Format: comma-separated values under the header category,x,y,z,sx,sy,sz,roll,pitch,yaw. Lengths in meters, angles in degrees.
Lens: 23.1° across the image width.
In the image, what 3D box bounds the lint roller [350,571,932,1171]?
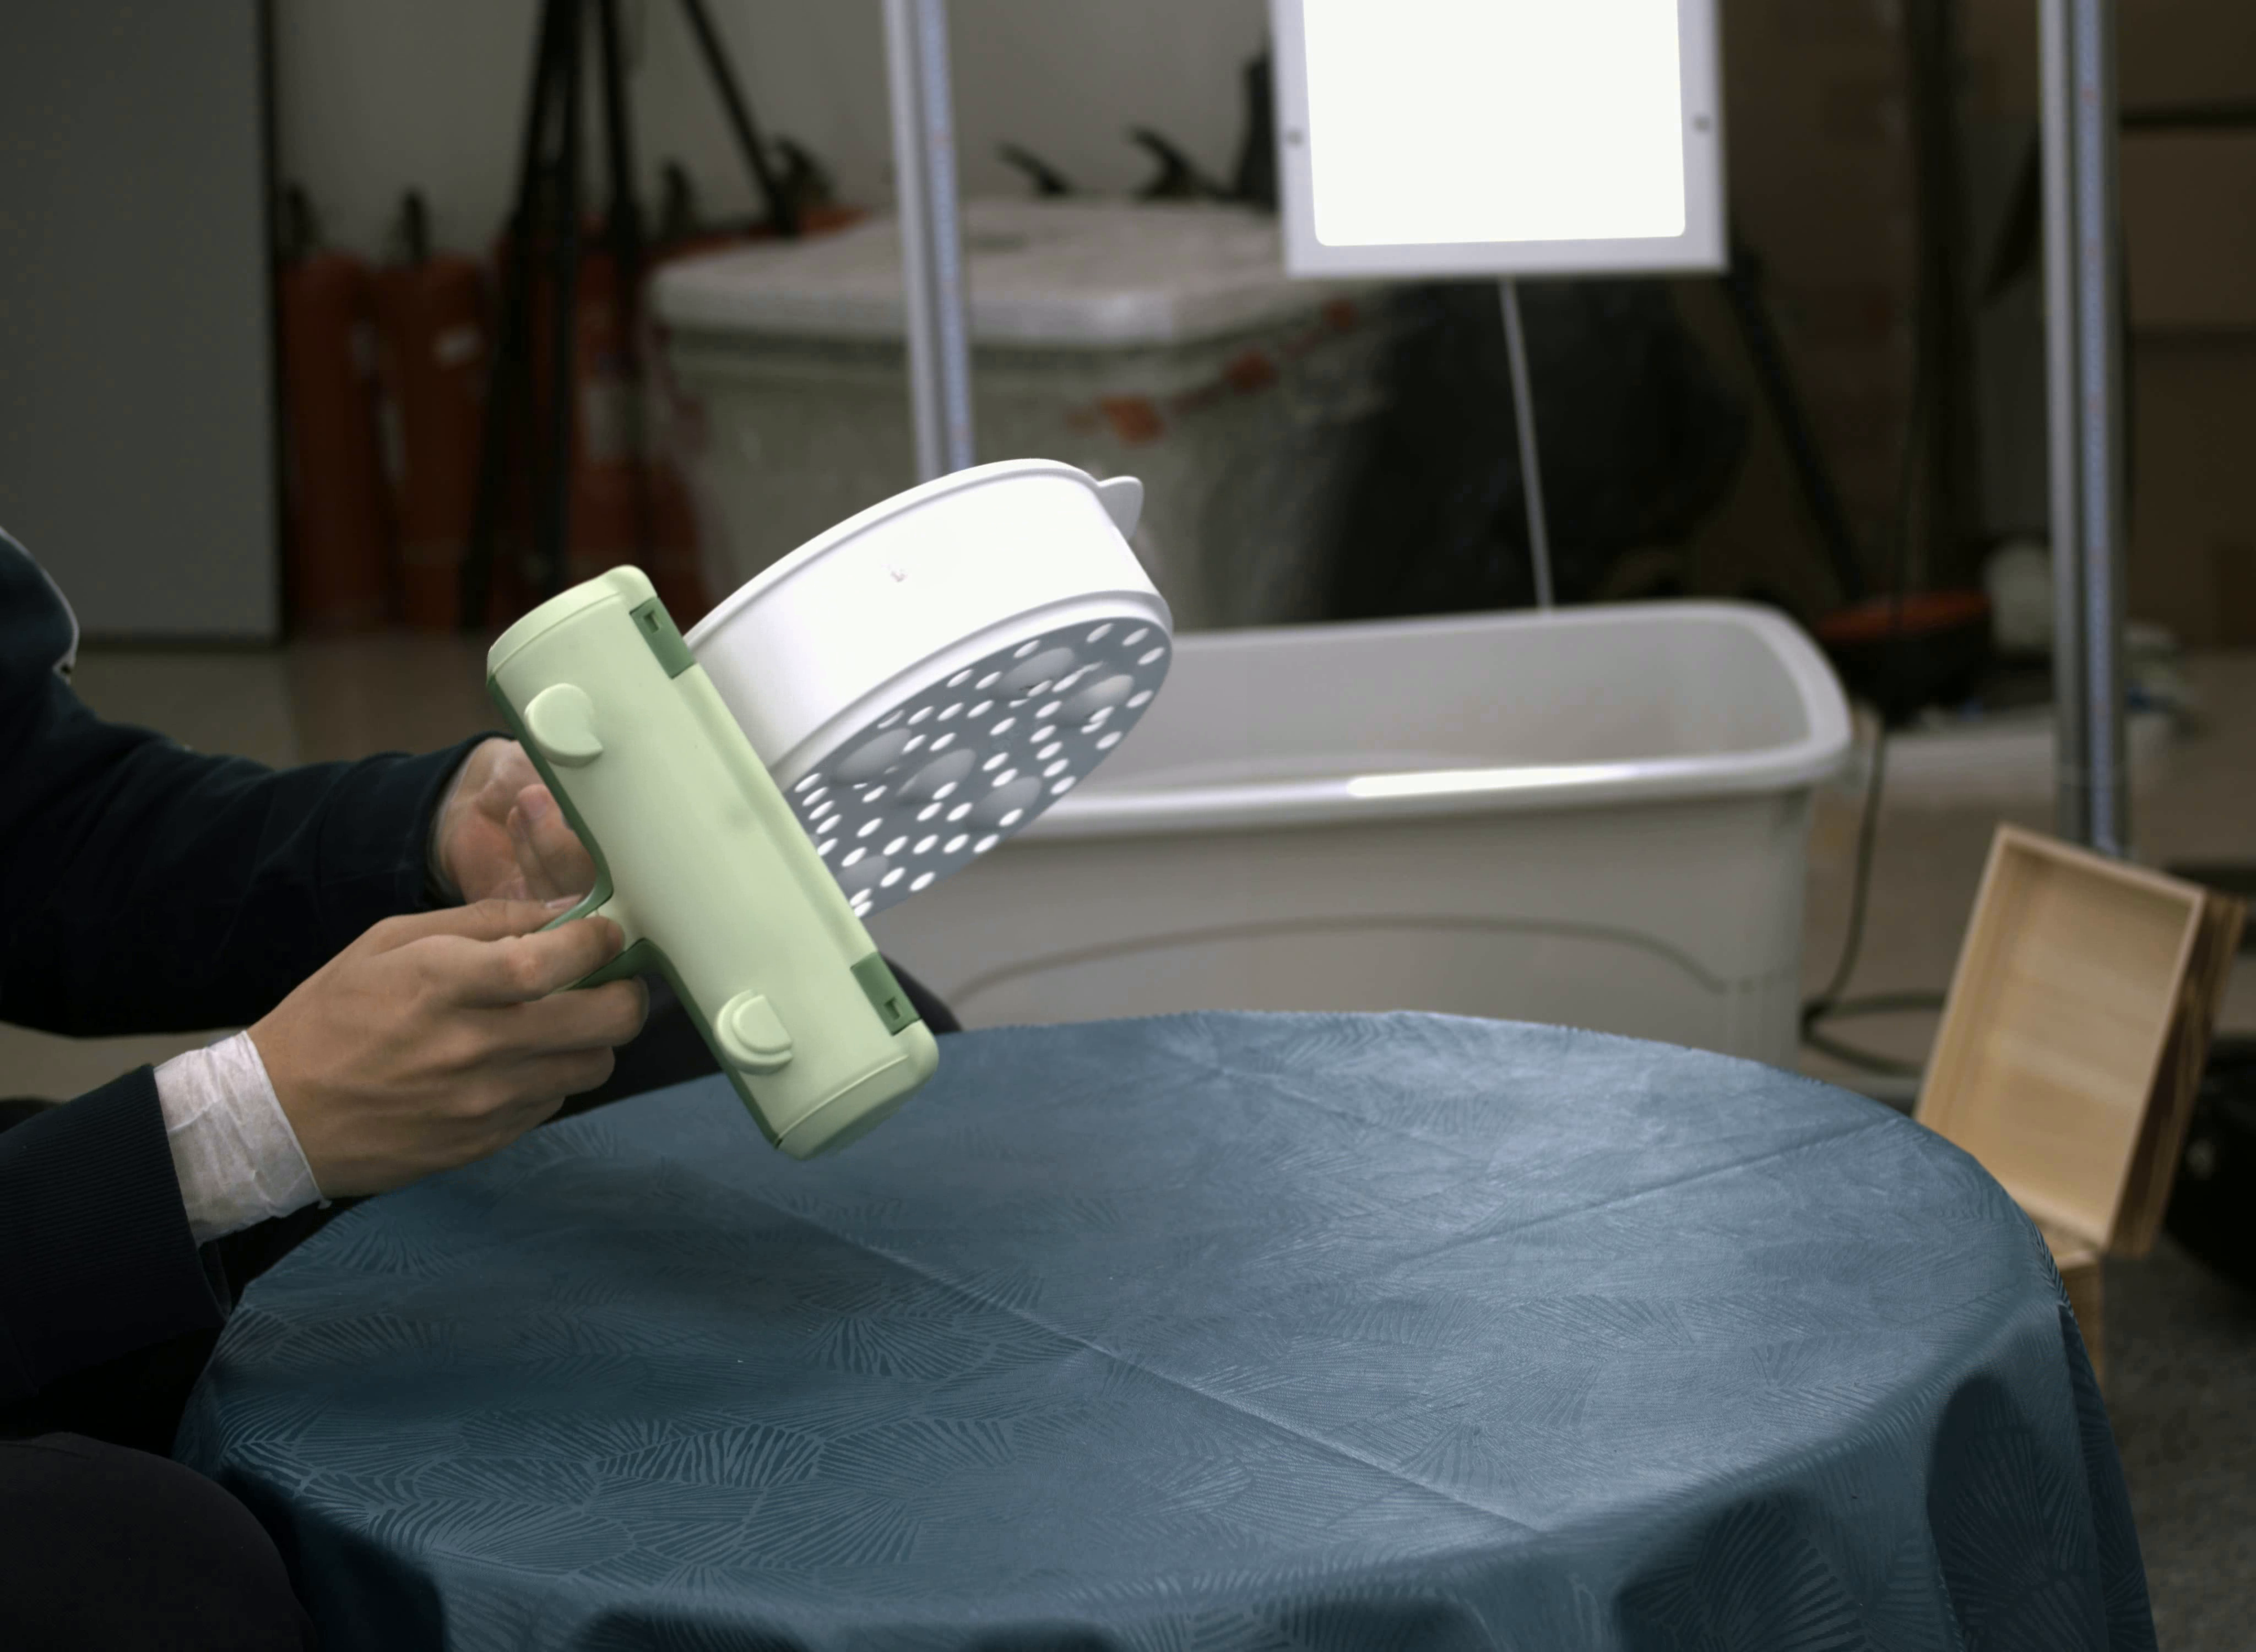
category,x,y,z,sx,sy,sz,roll,pitch,yaw
lint roller,-0.184,0.046,1.768,0.184,0.199,0.081,-34,-9,11

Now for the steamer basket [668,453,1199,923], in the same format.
category,x,y,z,sx,sy,sz,roll,pitch,yaw
steamer basket,-0.072,-0.040,1.860,0.227,0.069,0.203,-26,-18,-16
